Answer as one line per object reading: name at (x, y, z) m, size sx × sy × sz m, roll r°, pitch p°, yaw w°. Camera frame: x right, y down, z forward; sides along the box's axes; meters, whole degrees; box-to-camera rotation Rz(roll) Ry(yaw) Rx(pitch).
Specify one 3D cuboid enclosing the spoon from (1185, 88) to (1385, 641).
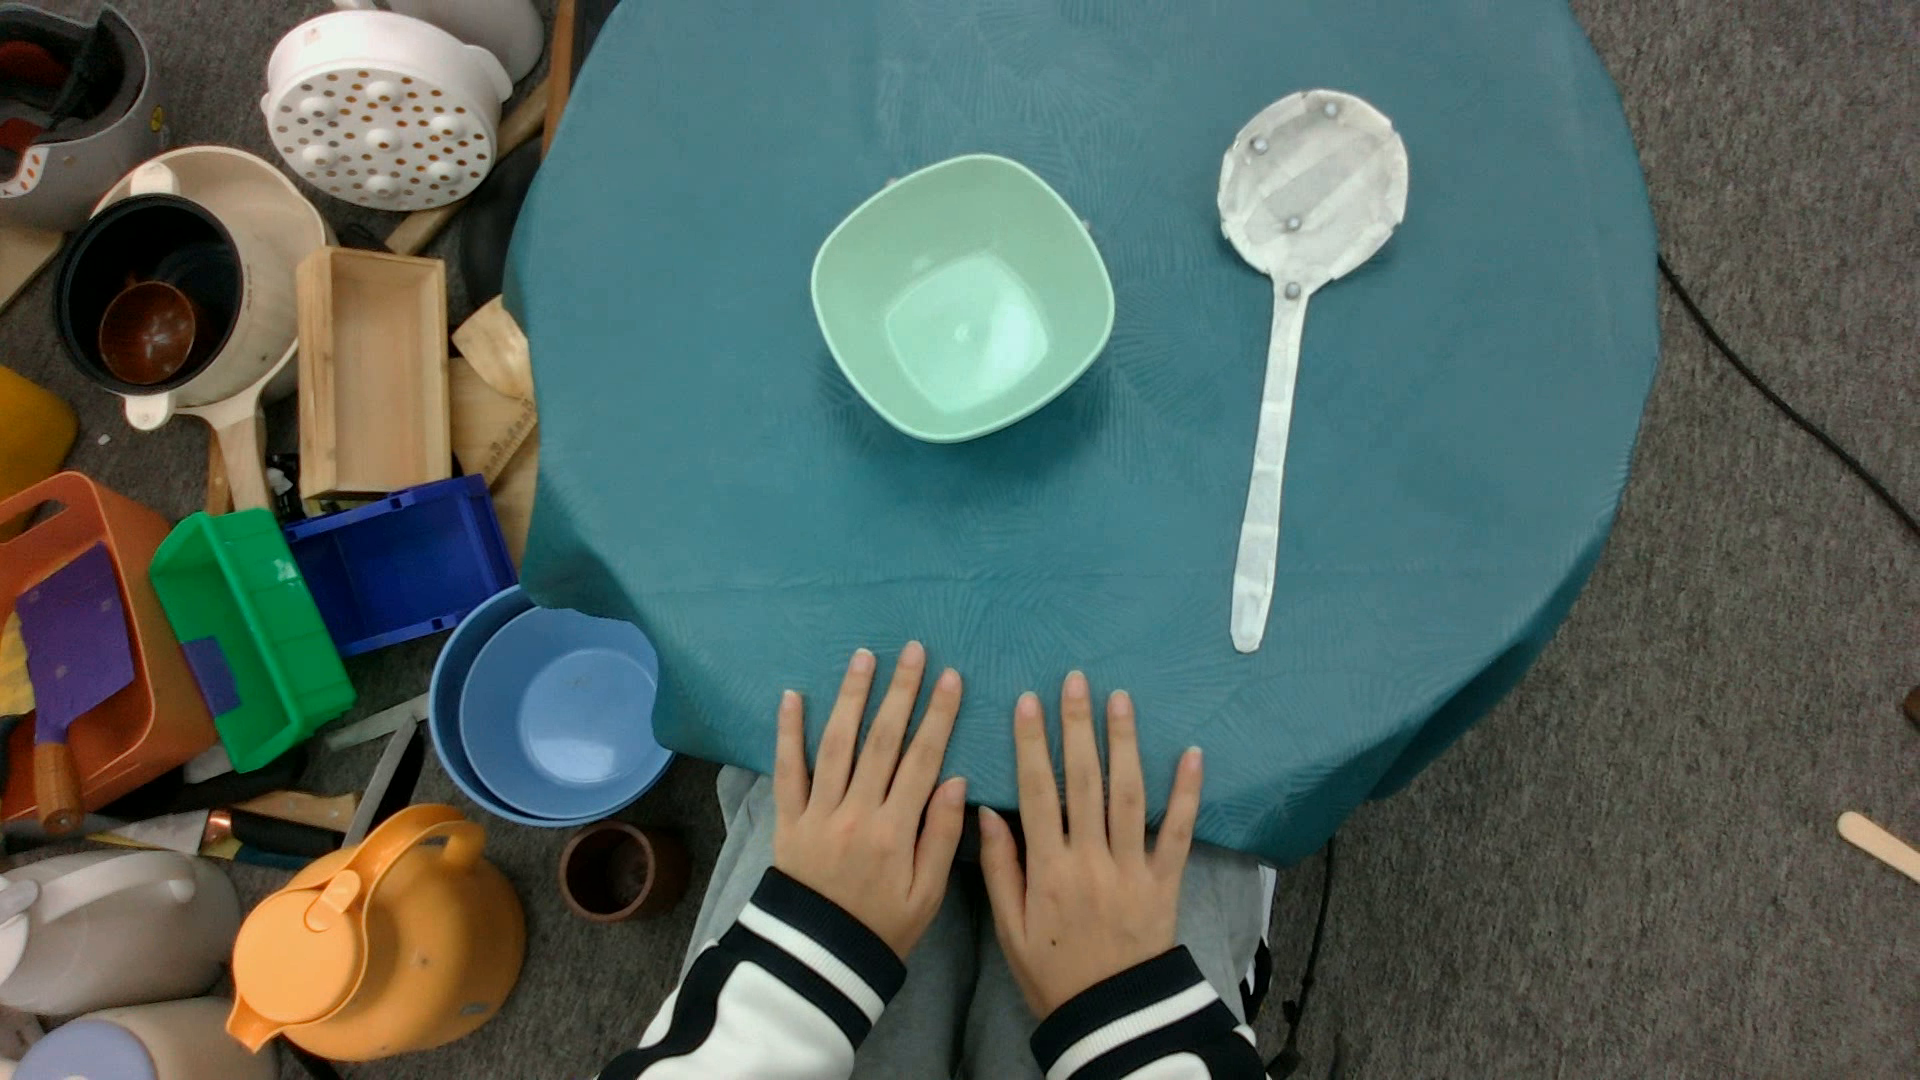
spoon at (0.145, -0.089, 0.686) m, size 0.100 × 0.059 × 0.278 m, roll 11°, pitch 76°, yaw 10°

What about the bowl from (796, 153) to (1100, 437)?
bowl at (-0.005, -0.116, 0.702) m, size 0.151 × 0.058 × 0.152 m, roll -1°, pitch 76°, yaw 3°
